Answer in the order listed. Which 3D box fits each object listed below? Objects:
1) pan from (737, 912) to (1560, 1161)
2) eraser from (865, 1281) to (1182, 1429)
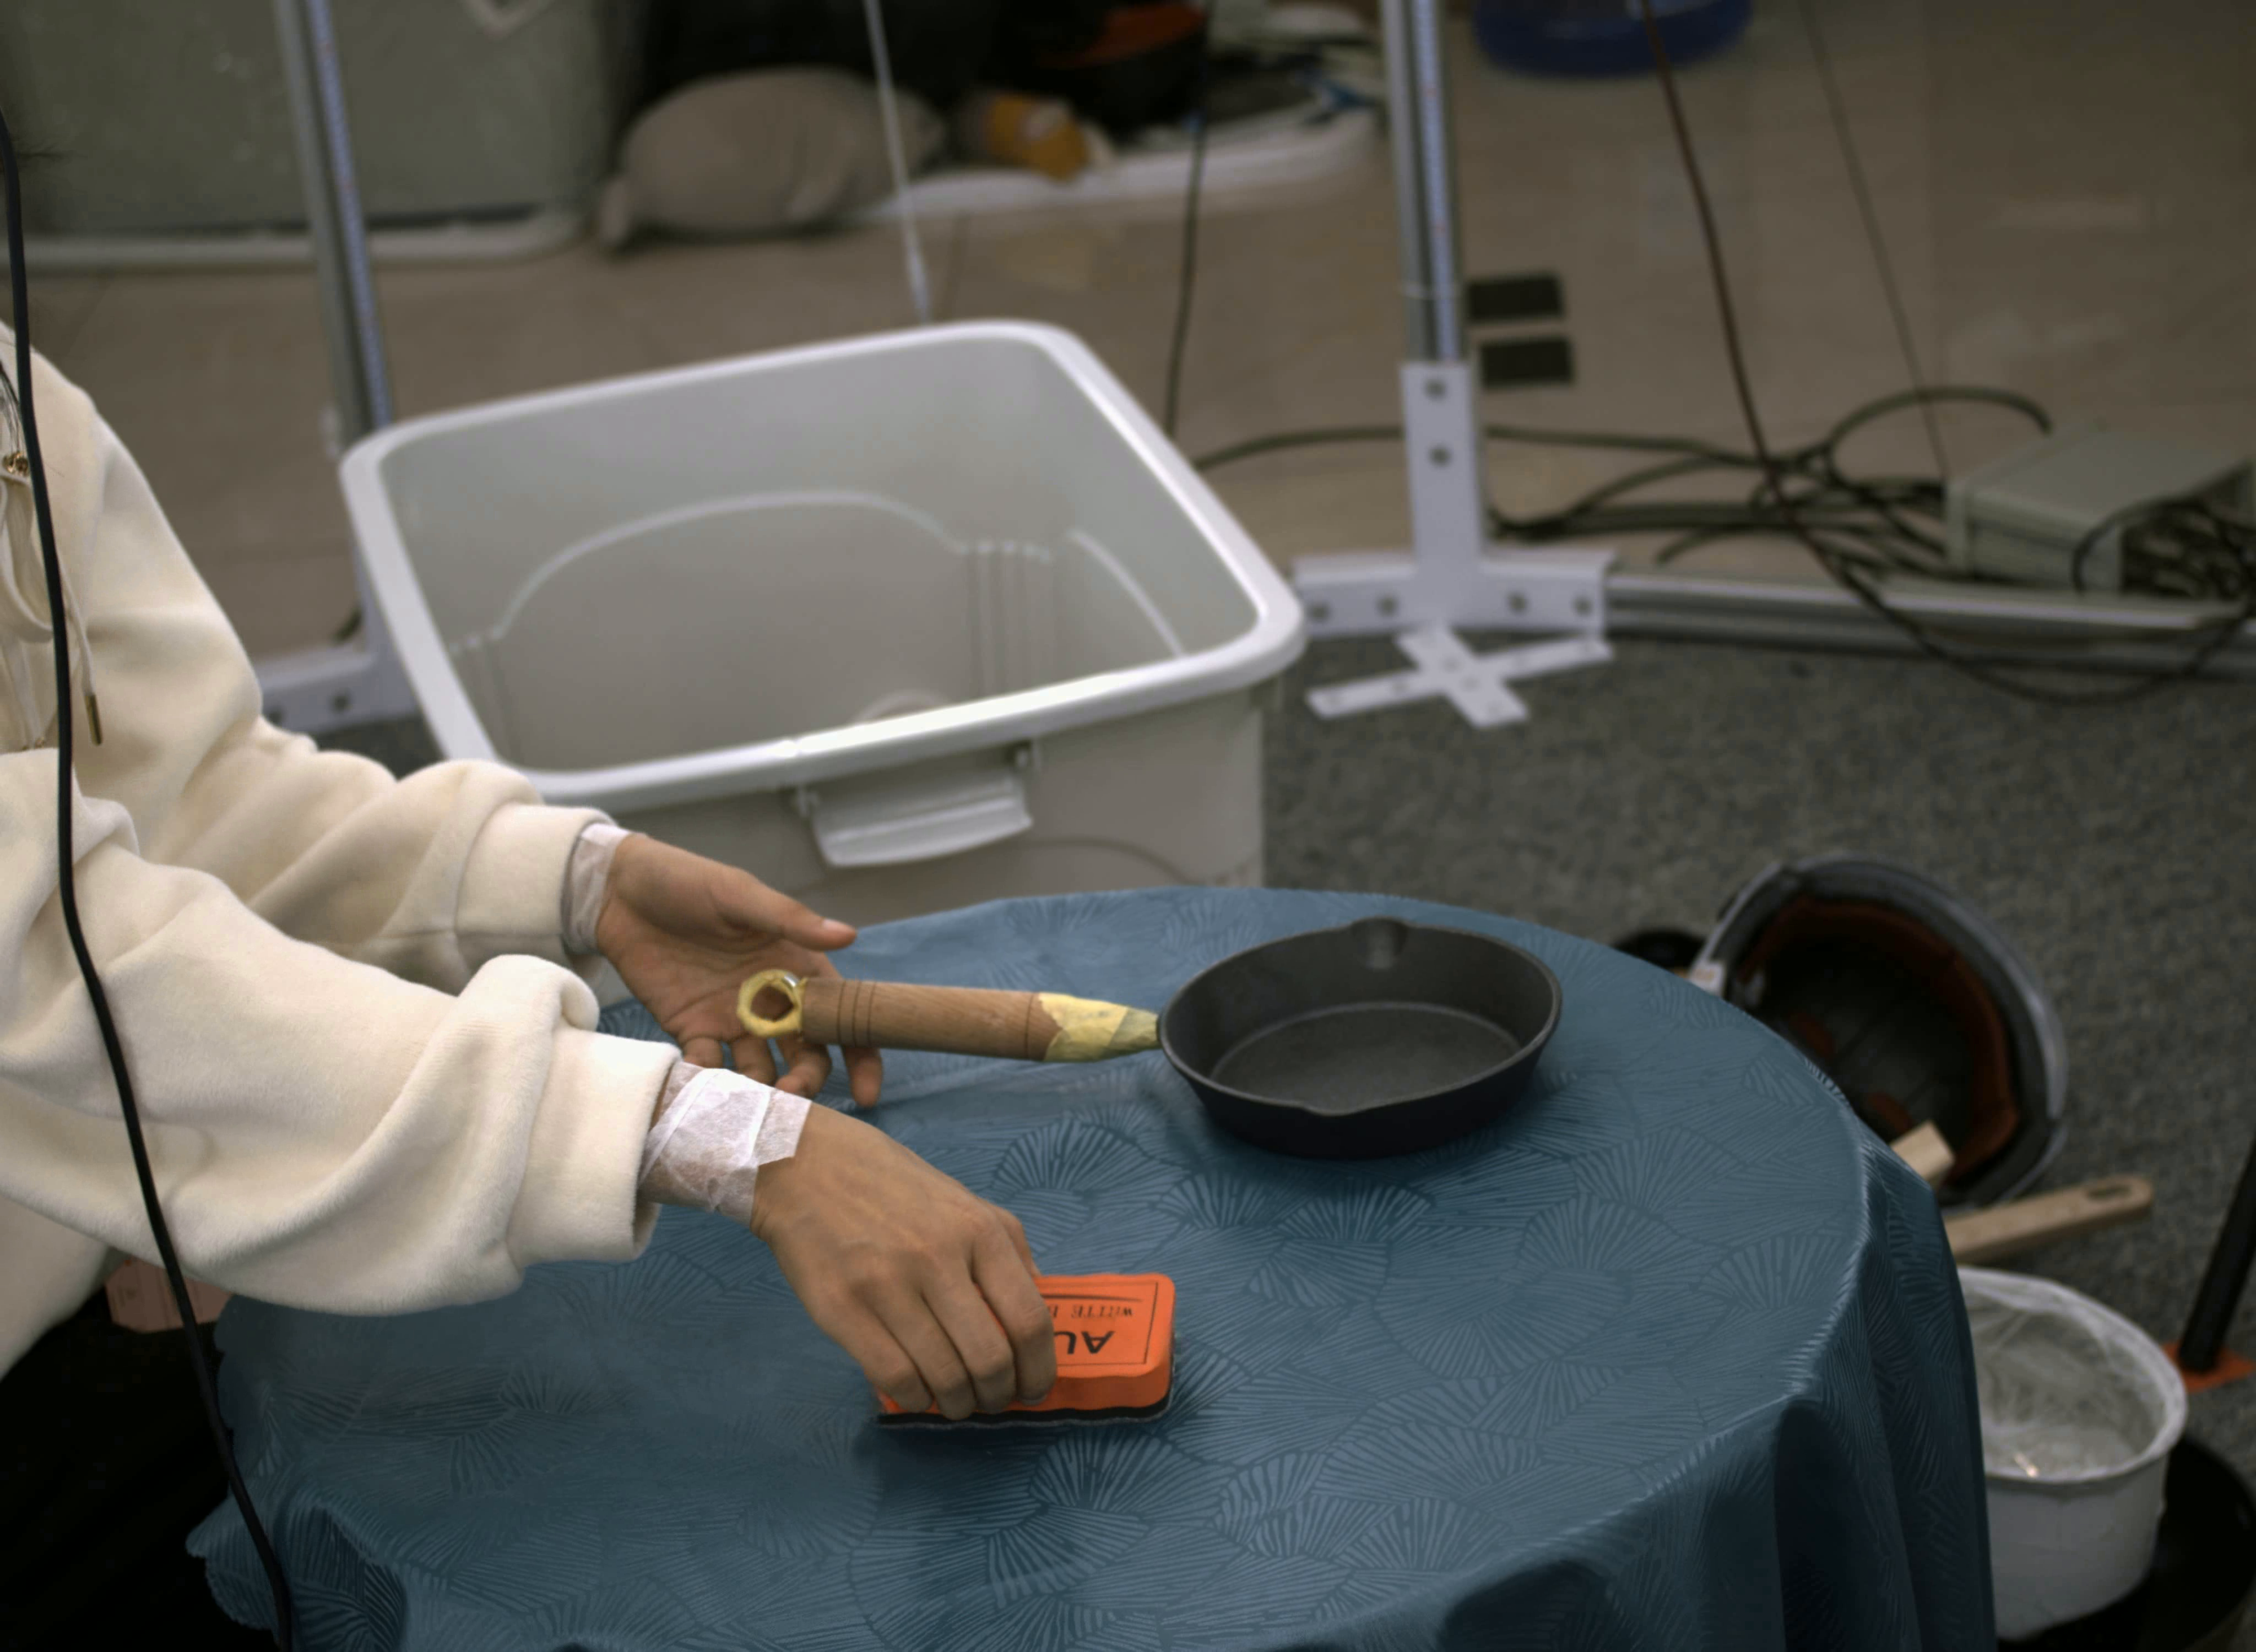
[{"bbox_3d":[0.007,0.080,2.212,0.323,0.050,0.166,0,26,11],"label":"pan"},{"bbox_3d":[-0.037,0.188,2.016,0.108,0.023,0.058,-2,33,10],"label":"eraser"}]
